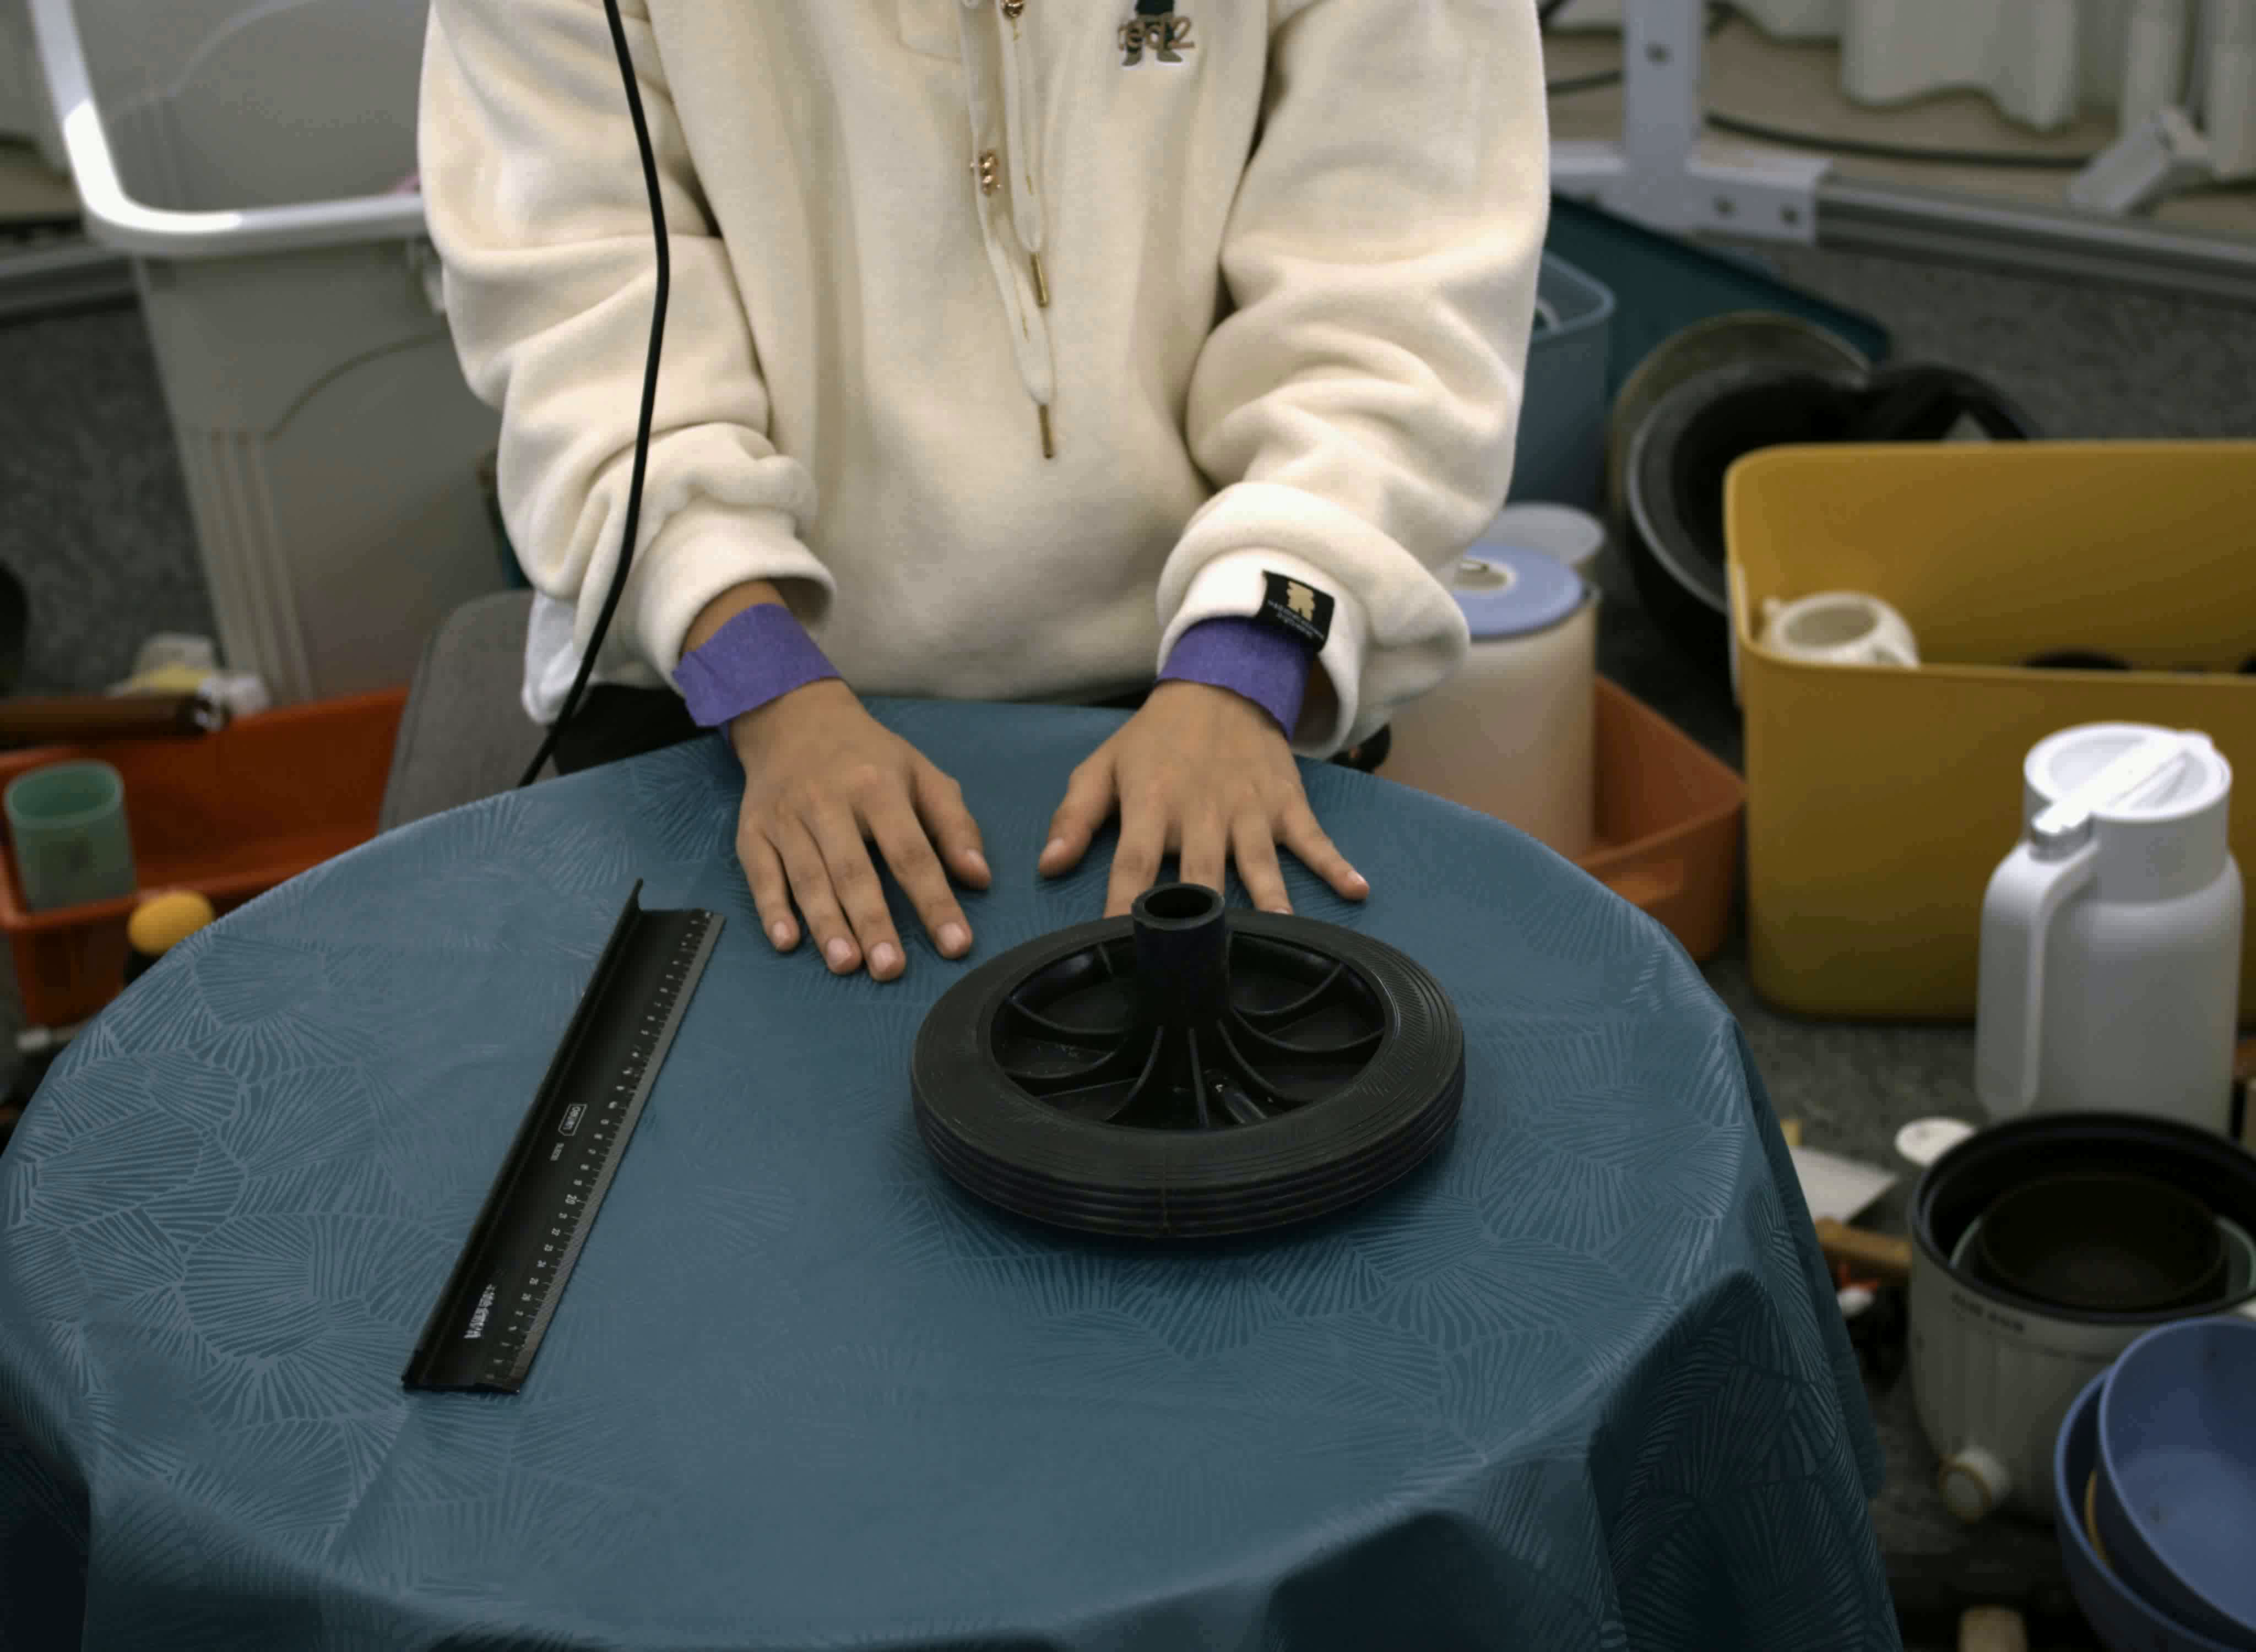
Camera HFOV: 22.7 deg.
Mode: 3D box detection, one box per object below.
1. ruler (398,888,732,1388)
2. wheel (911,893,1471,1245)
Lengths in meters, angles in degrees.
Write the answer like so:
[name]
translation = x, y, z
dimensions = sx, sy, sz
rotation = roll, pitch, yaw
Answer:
[ruler]
translation = -0.188, 0.100, 1.904
dimensions = 0.039, 0.017, 0.318
rotation = 5, 28, 8
[wheel]
translation = 0.020, 0.065, 1.886
dimensions = 0.189, 0.078, 0.190
rotation = 20, 35, 37
